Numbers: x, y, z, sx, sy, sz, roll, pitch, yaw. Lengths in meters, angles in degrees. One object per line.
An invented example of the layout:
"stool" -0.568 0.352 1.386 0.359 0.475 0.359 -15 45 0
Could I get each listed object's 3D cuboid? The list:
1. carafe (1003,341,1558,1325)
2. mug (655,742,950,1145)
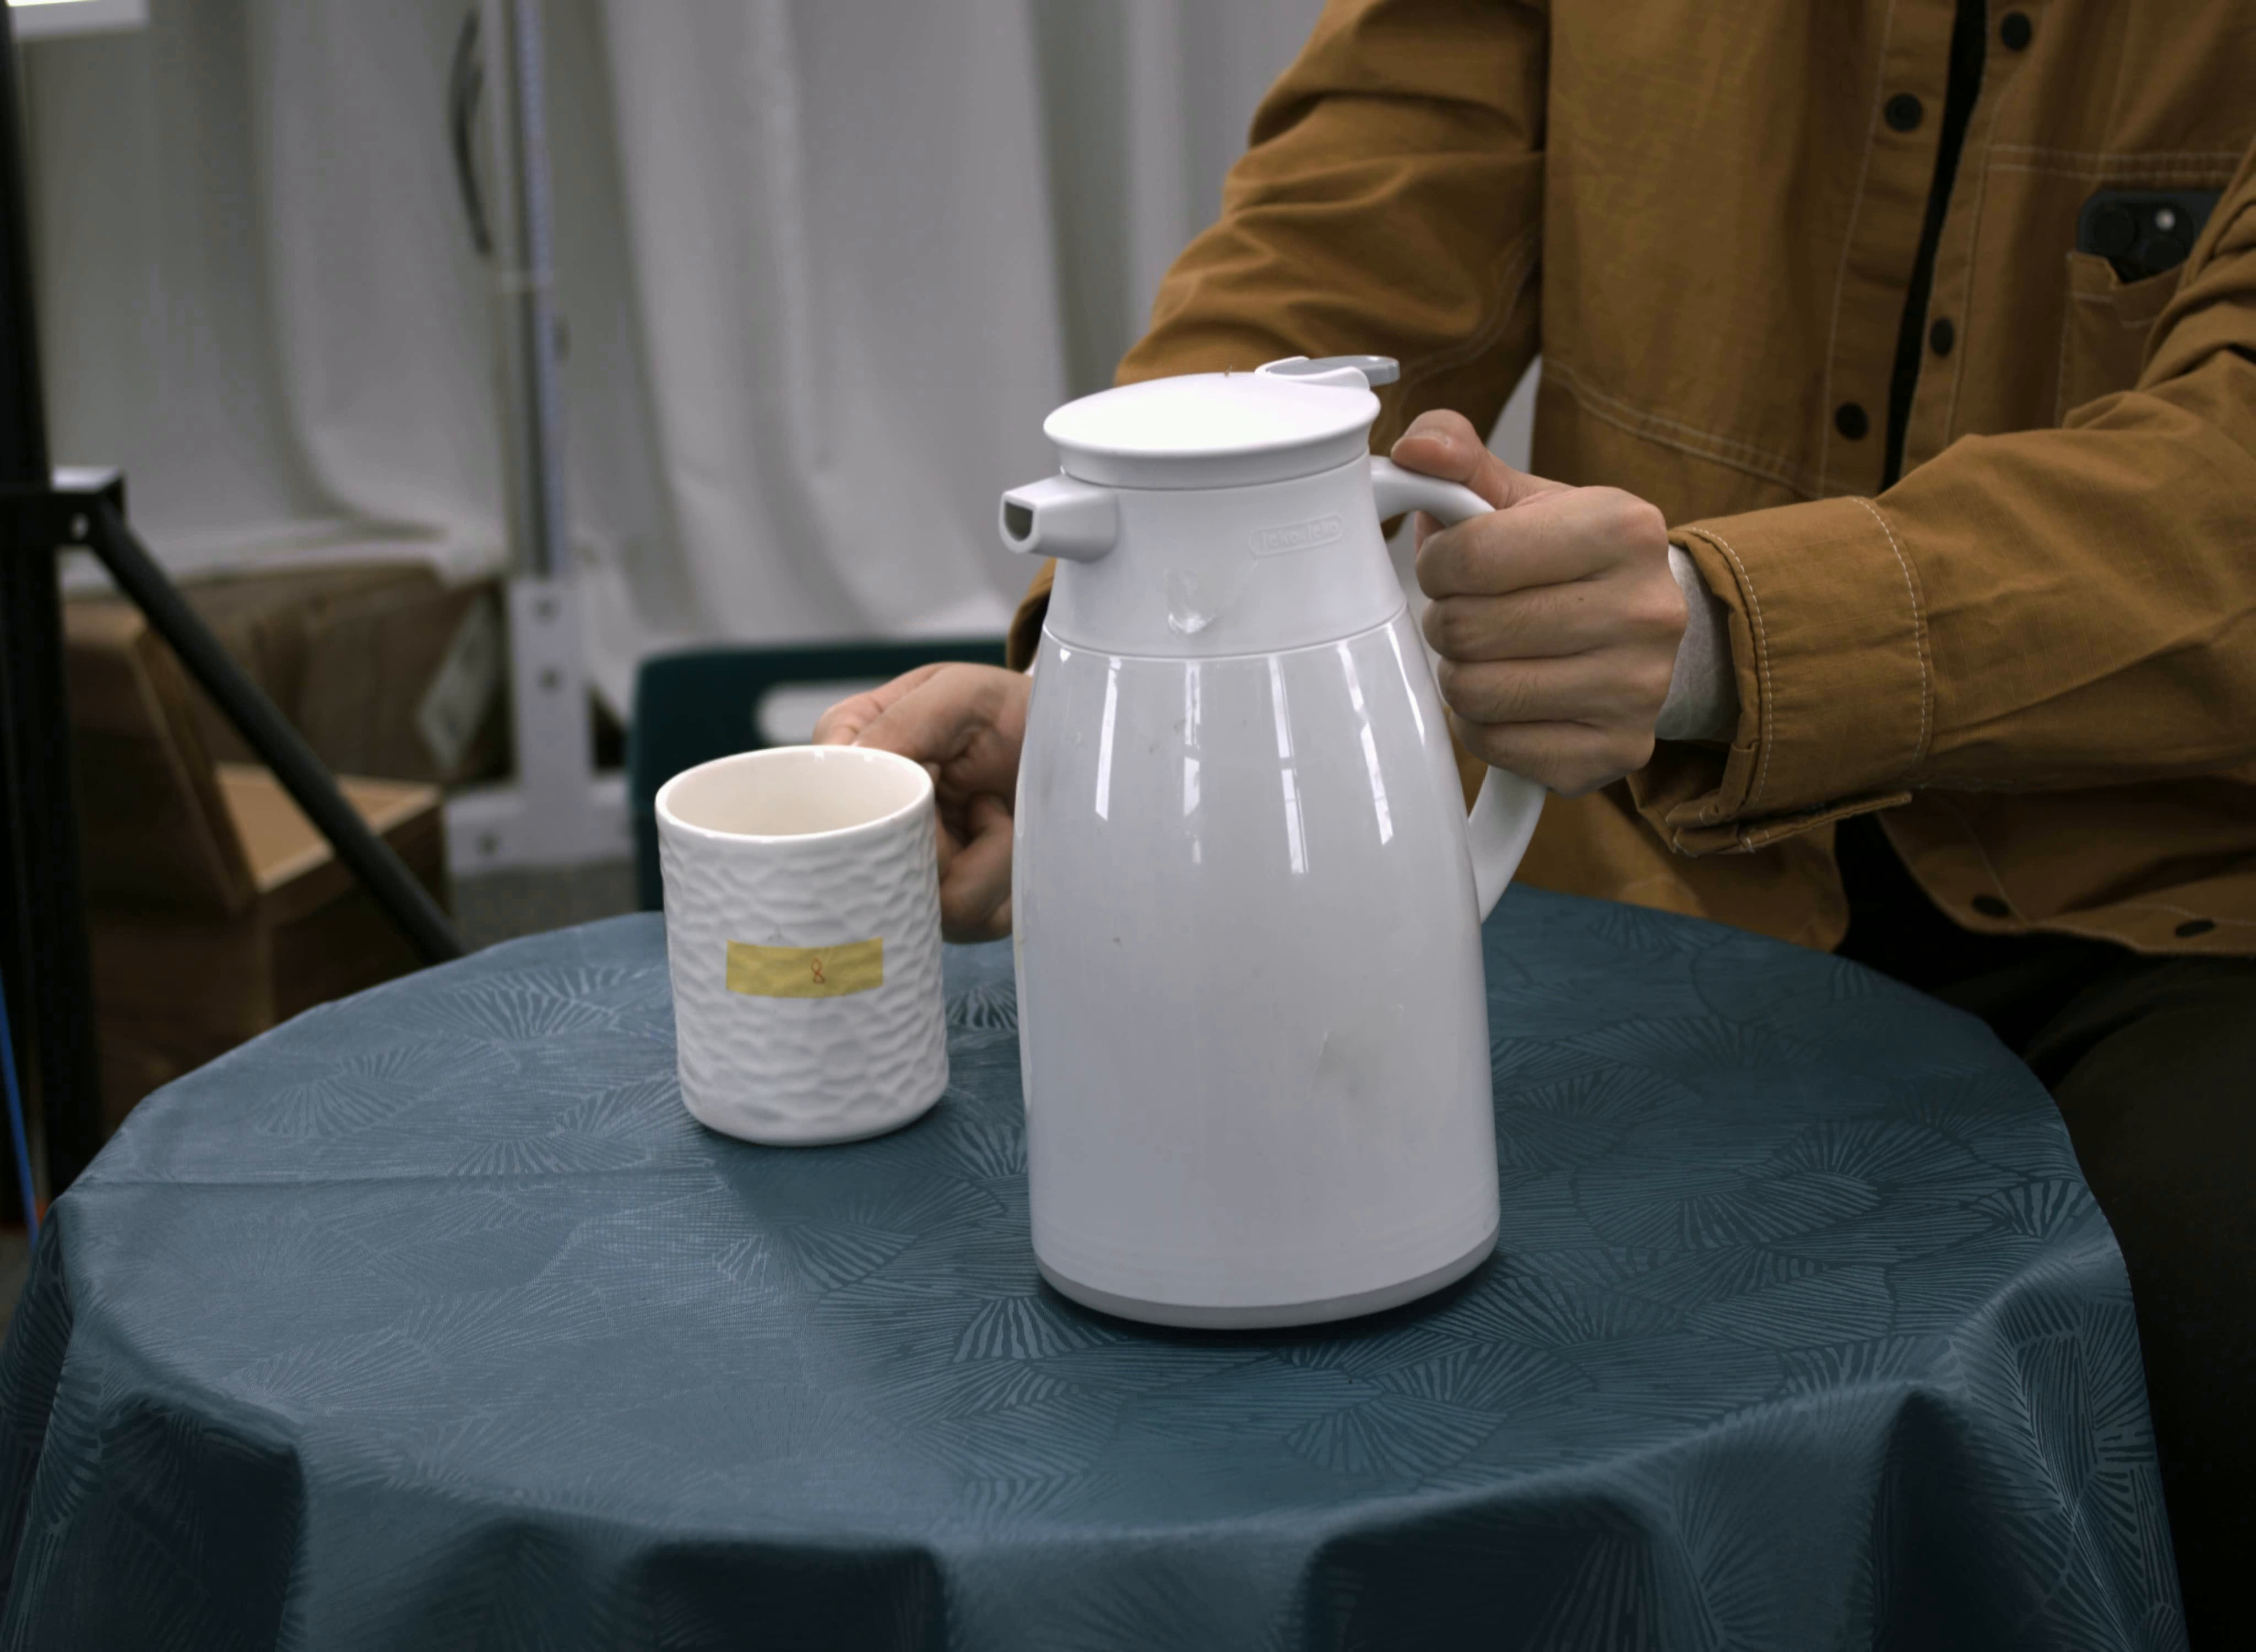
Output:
"carafe" 0.046 -0.006 1.466 0.164 0.248 0.135 -12 16 -28
"mug" -0.094 0.031 1.642 0.086 0.102 0.117 3 20 19
